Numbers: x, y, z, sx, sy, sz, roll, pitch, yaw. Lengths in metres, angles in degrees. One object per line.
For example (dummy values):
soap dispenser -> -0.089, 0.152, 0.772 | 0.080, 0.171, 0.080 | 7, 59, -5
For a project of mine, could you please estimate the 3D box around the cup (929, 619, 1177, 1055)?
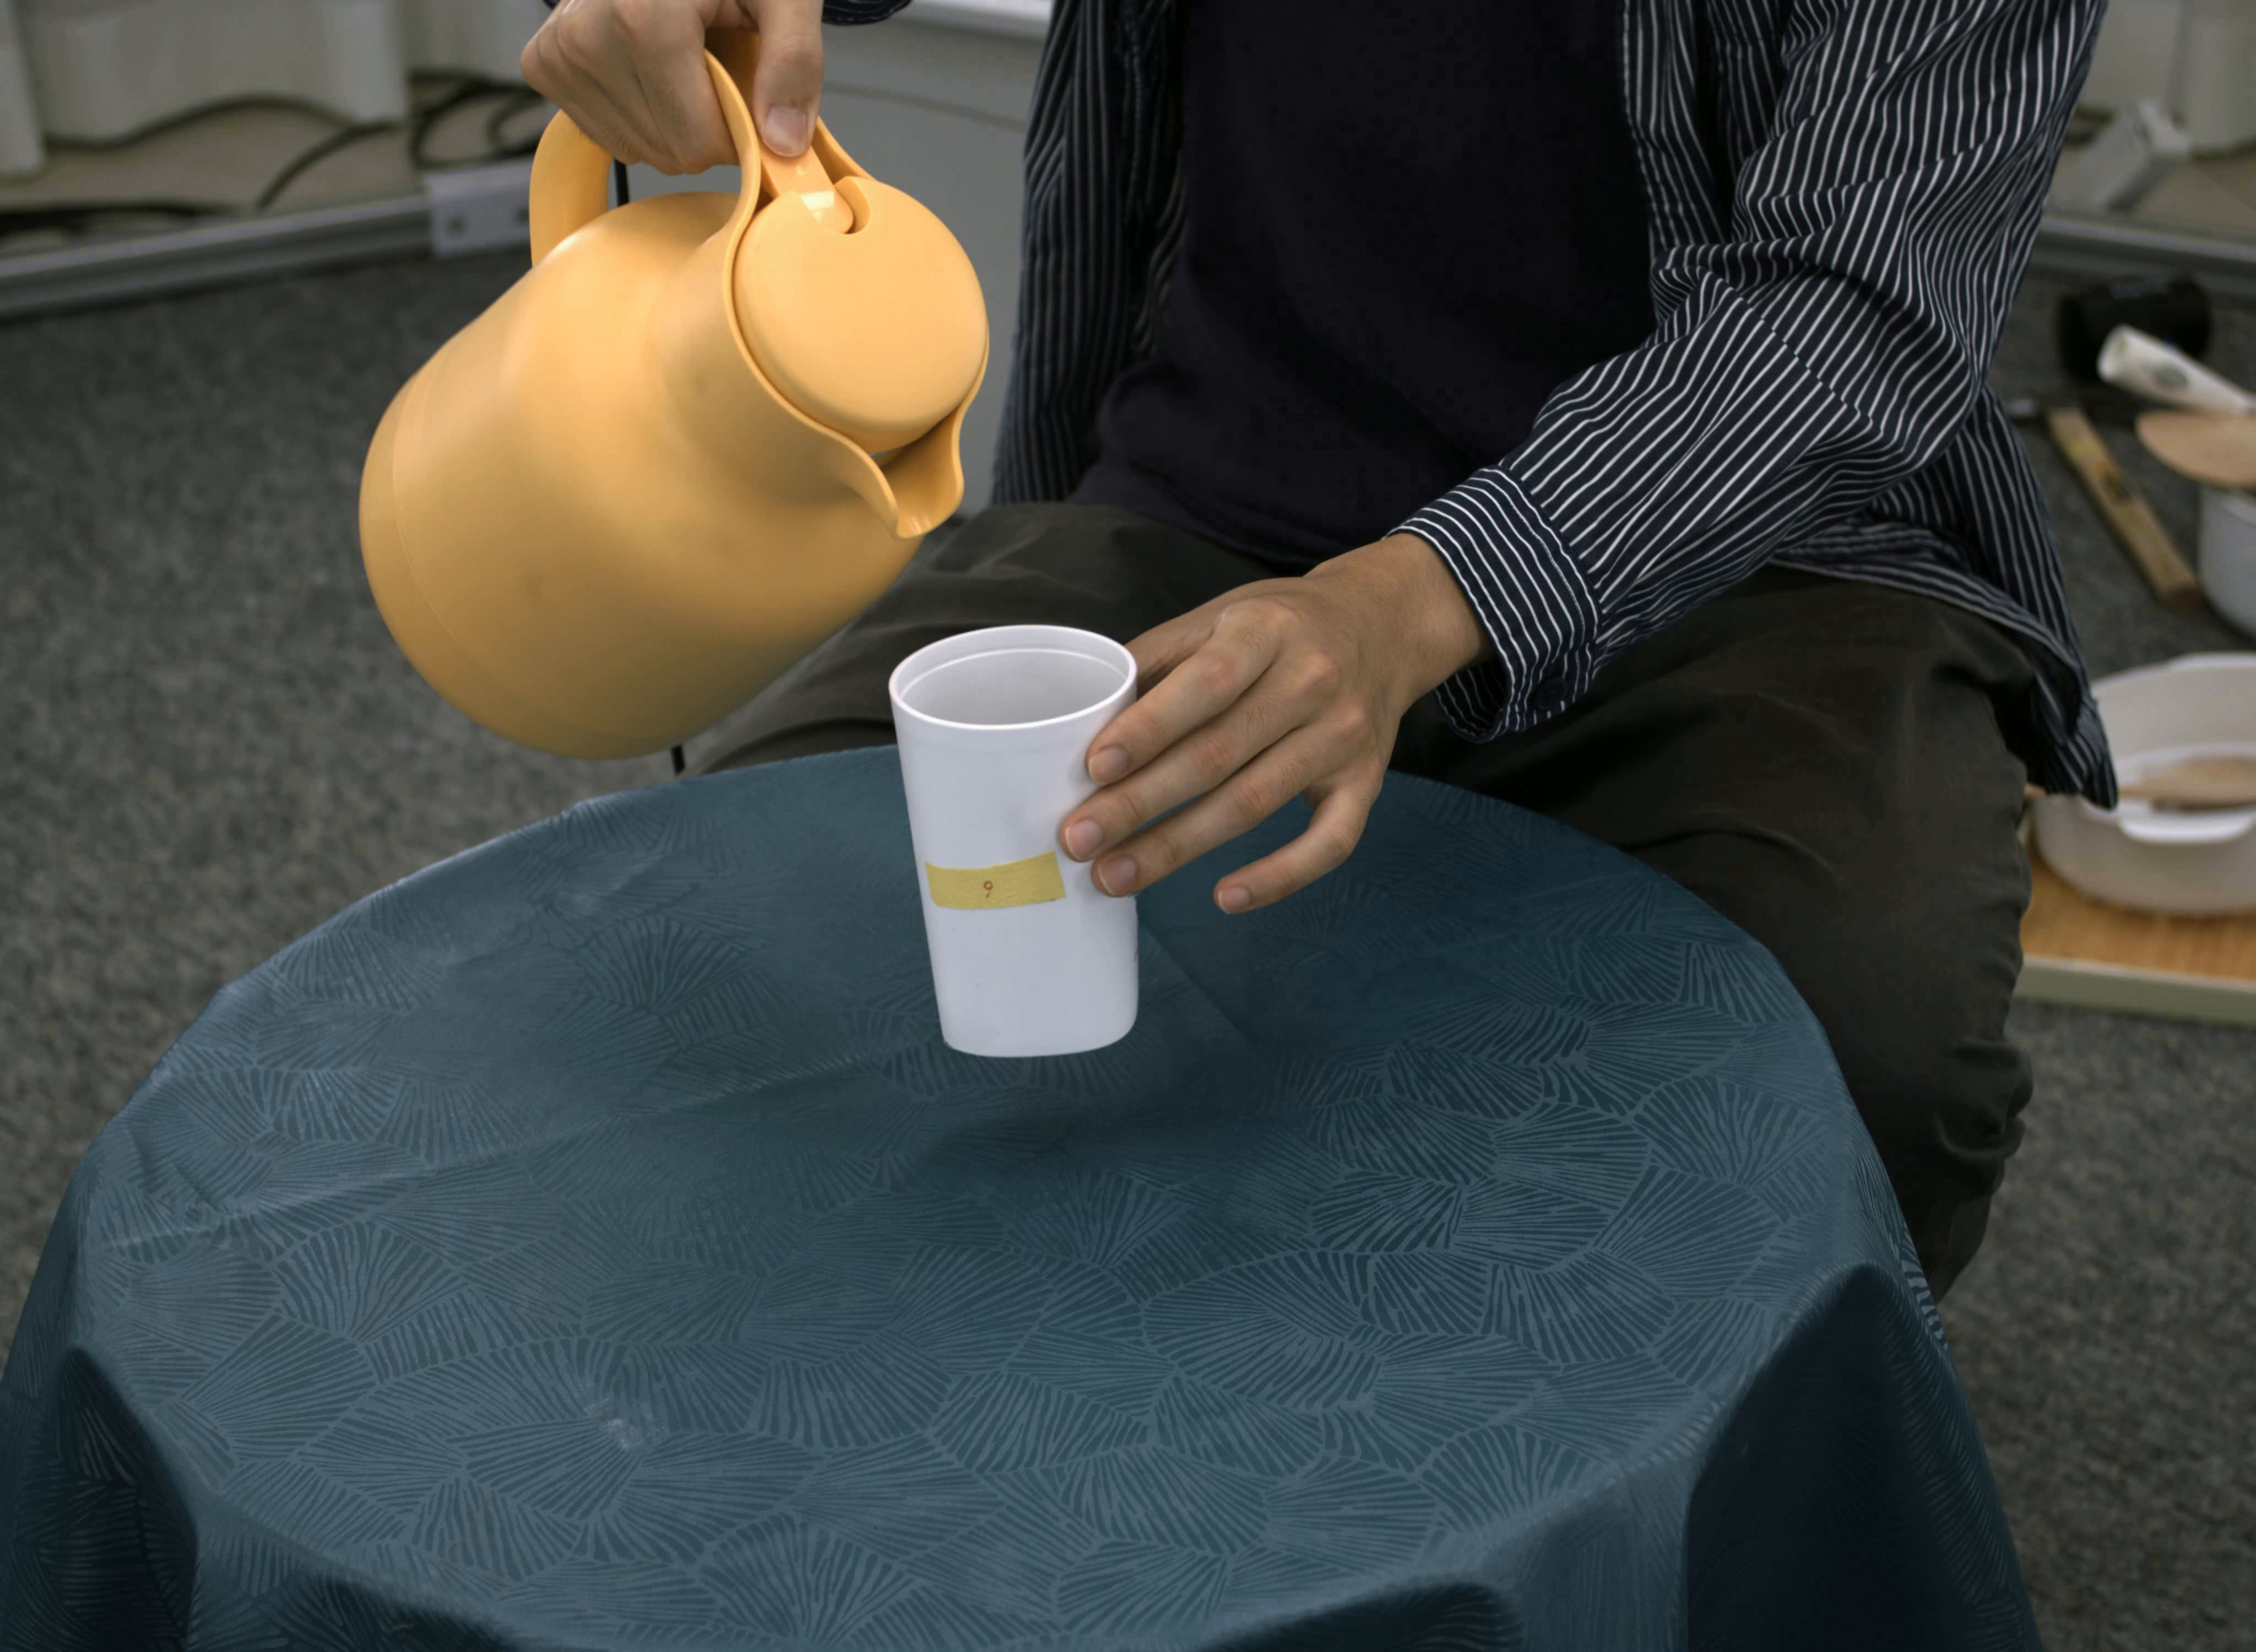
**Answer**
cup -> -0.020, 0.006, 1.843 | 0.081, 0.124, 0.083 | -3, 23, 2

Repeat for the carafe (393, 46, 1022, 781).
carafe -> -0.139, -0.141, 1.906 | 0.165, 0.204, 0.256 | -17, -9, -37
